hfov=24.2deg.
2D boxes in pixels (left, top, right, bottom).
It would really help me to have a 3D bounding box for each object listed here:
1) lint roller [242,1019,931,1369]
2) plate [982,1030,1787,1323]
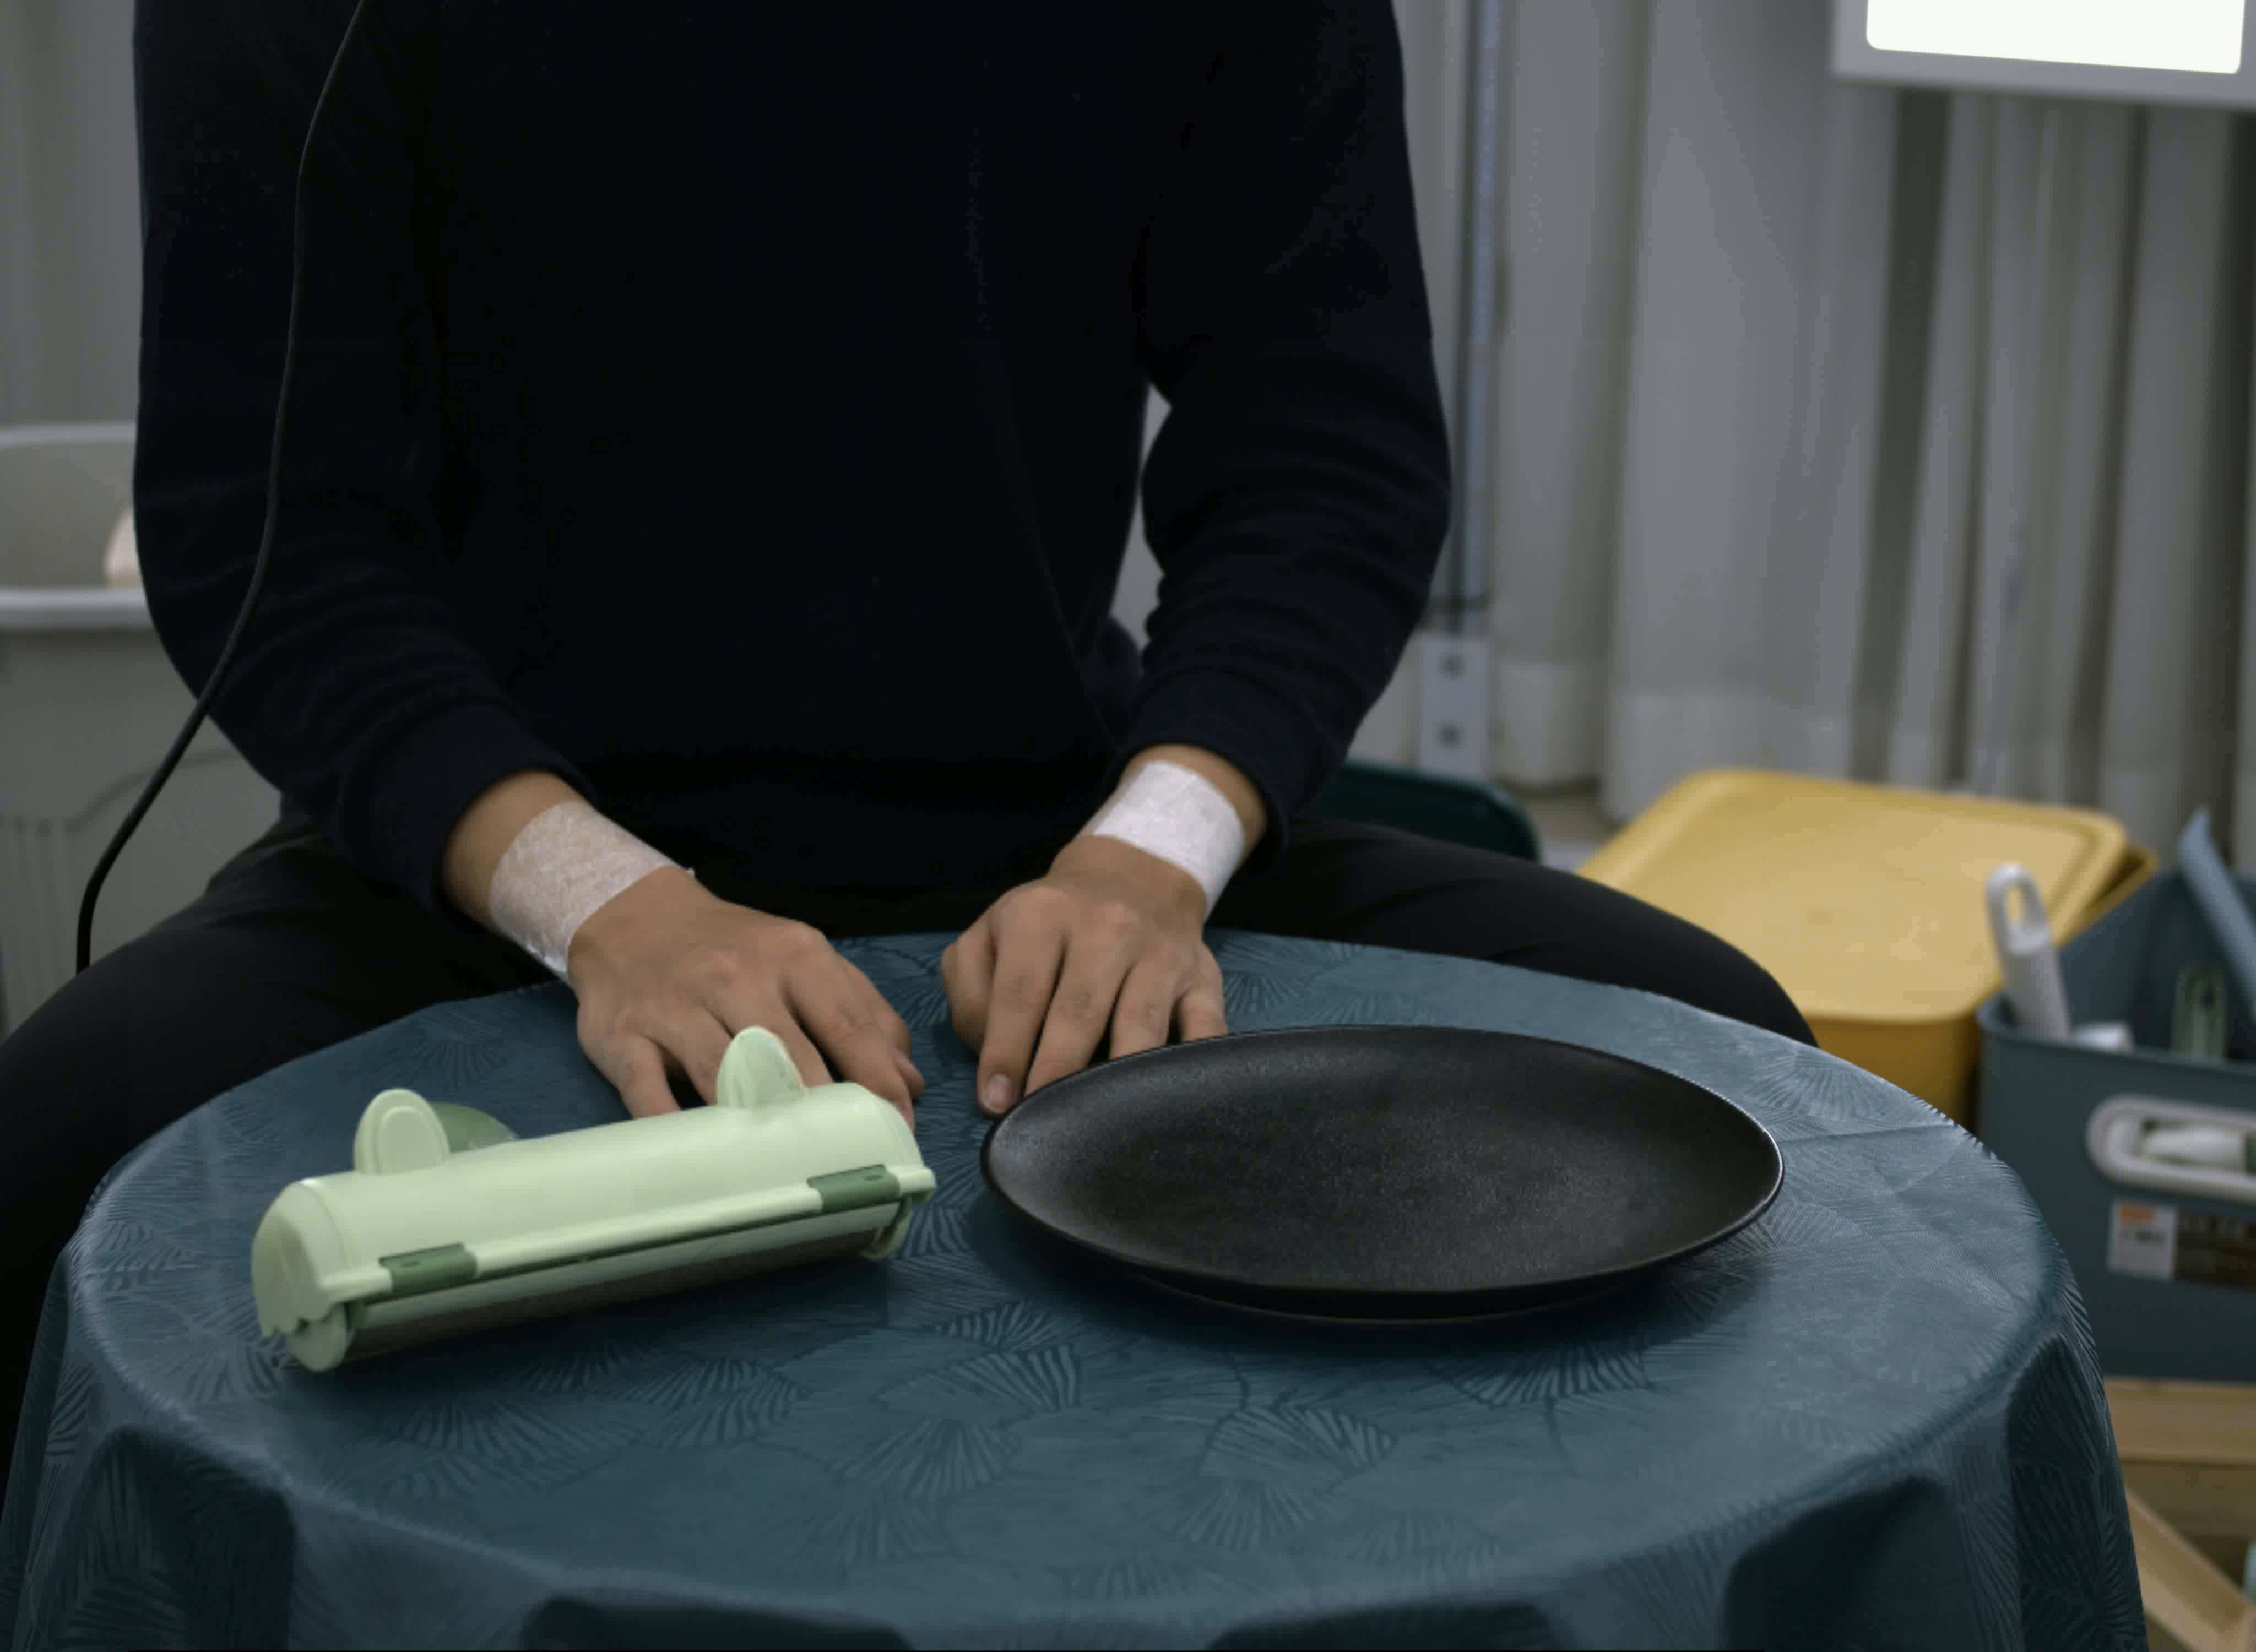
[{"bbox_3d":[-0.184,0.087,1.546,0.199,0.083,0.181,-9,25,-33],"label":"lint roller"},{"bbox_3d":[0.077,0.108,1.596,0.243,0.023,0.243,1,16,0],"label":"plate"}]
